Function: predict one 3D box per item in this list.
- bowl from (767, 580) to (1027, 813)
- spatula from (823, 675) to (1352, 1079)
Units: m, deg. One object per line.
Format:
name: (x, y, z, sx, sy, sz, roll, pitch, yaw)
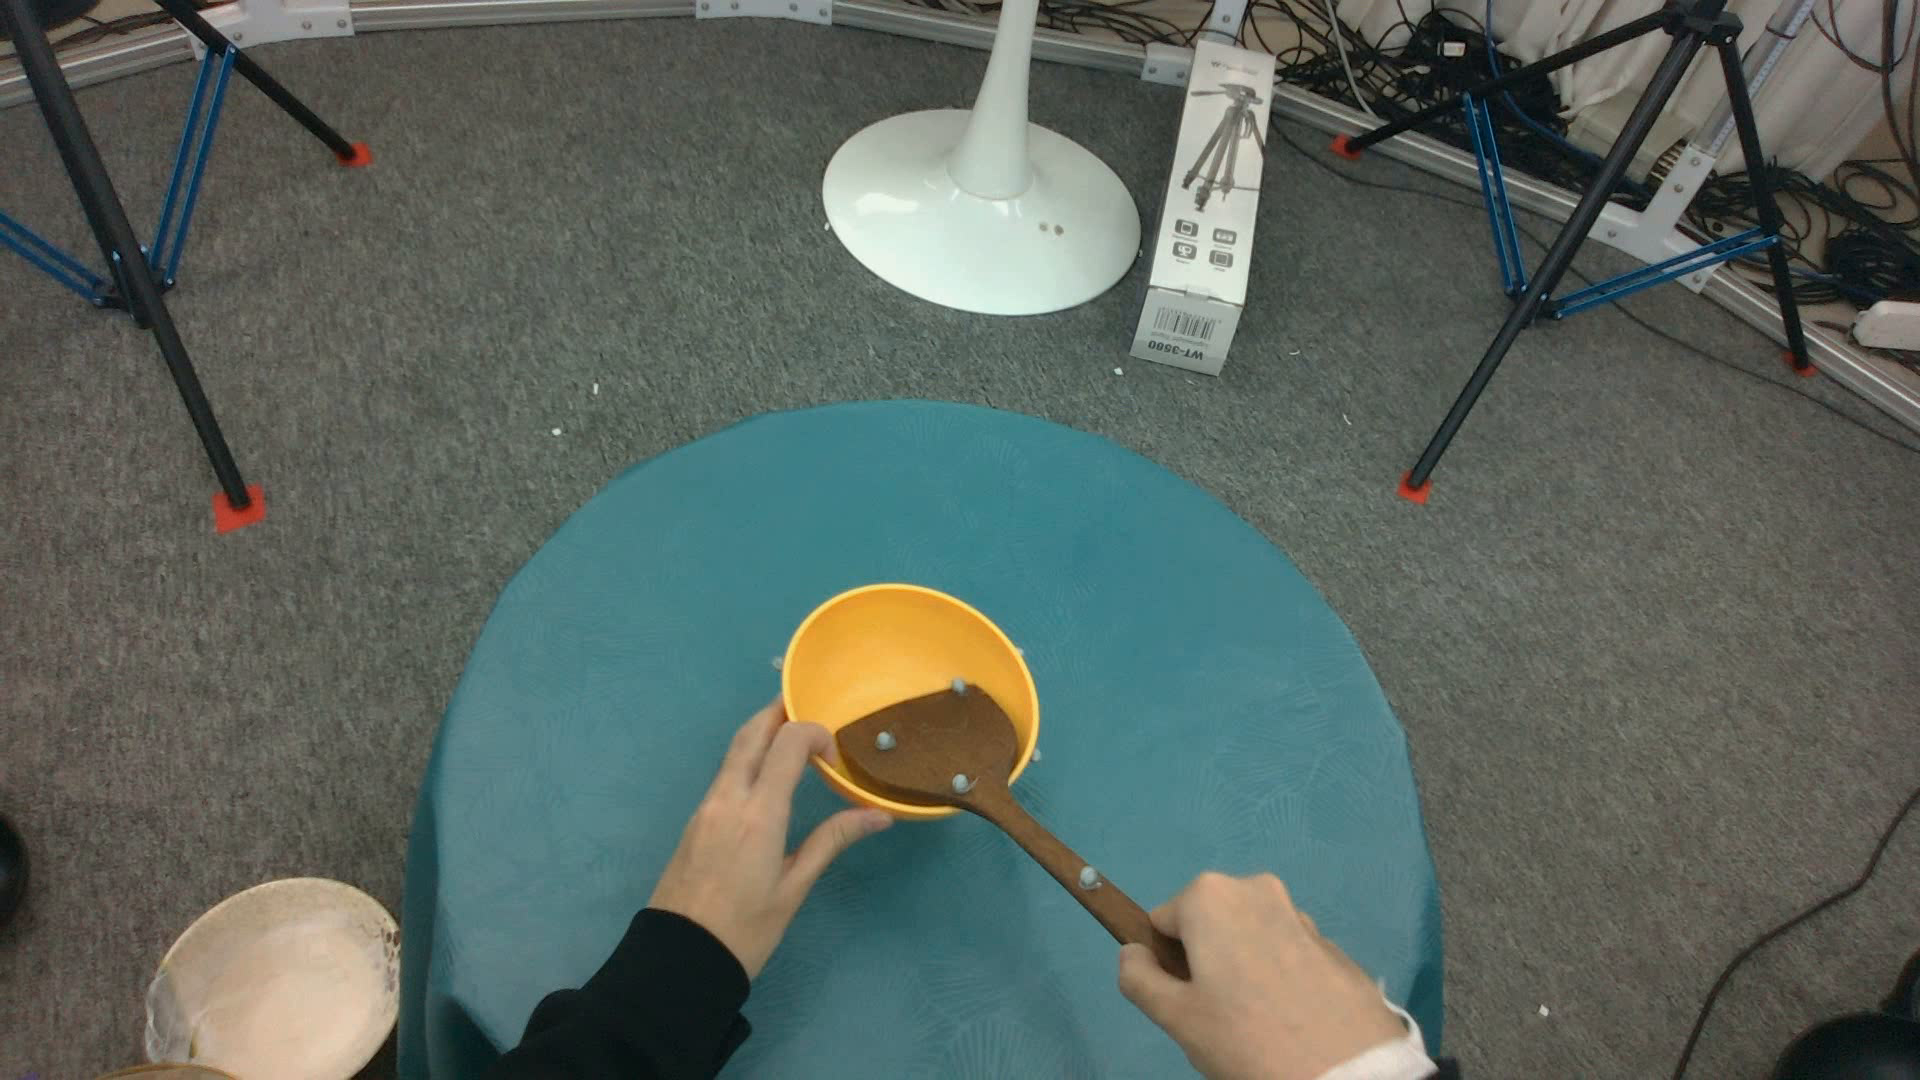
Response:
bowl: (-0.039, 0.097, 0.774, 0.145, 0.060, 0.146, 9, 51, -11)
spatula: (0.047, 0.149, 0.639, 0.096, 0.016, 0.386, -16, 24, -24)
